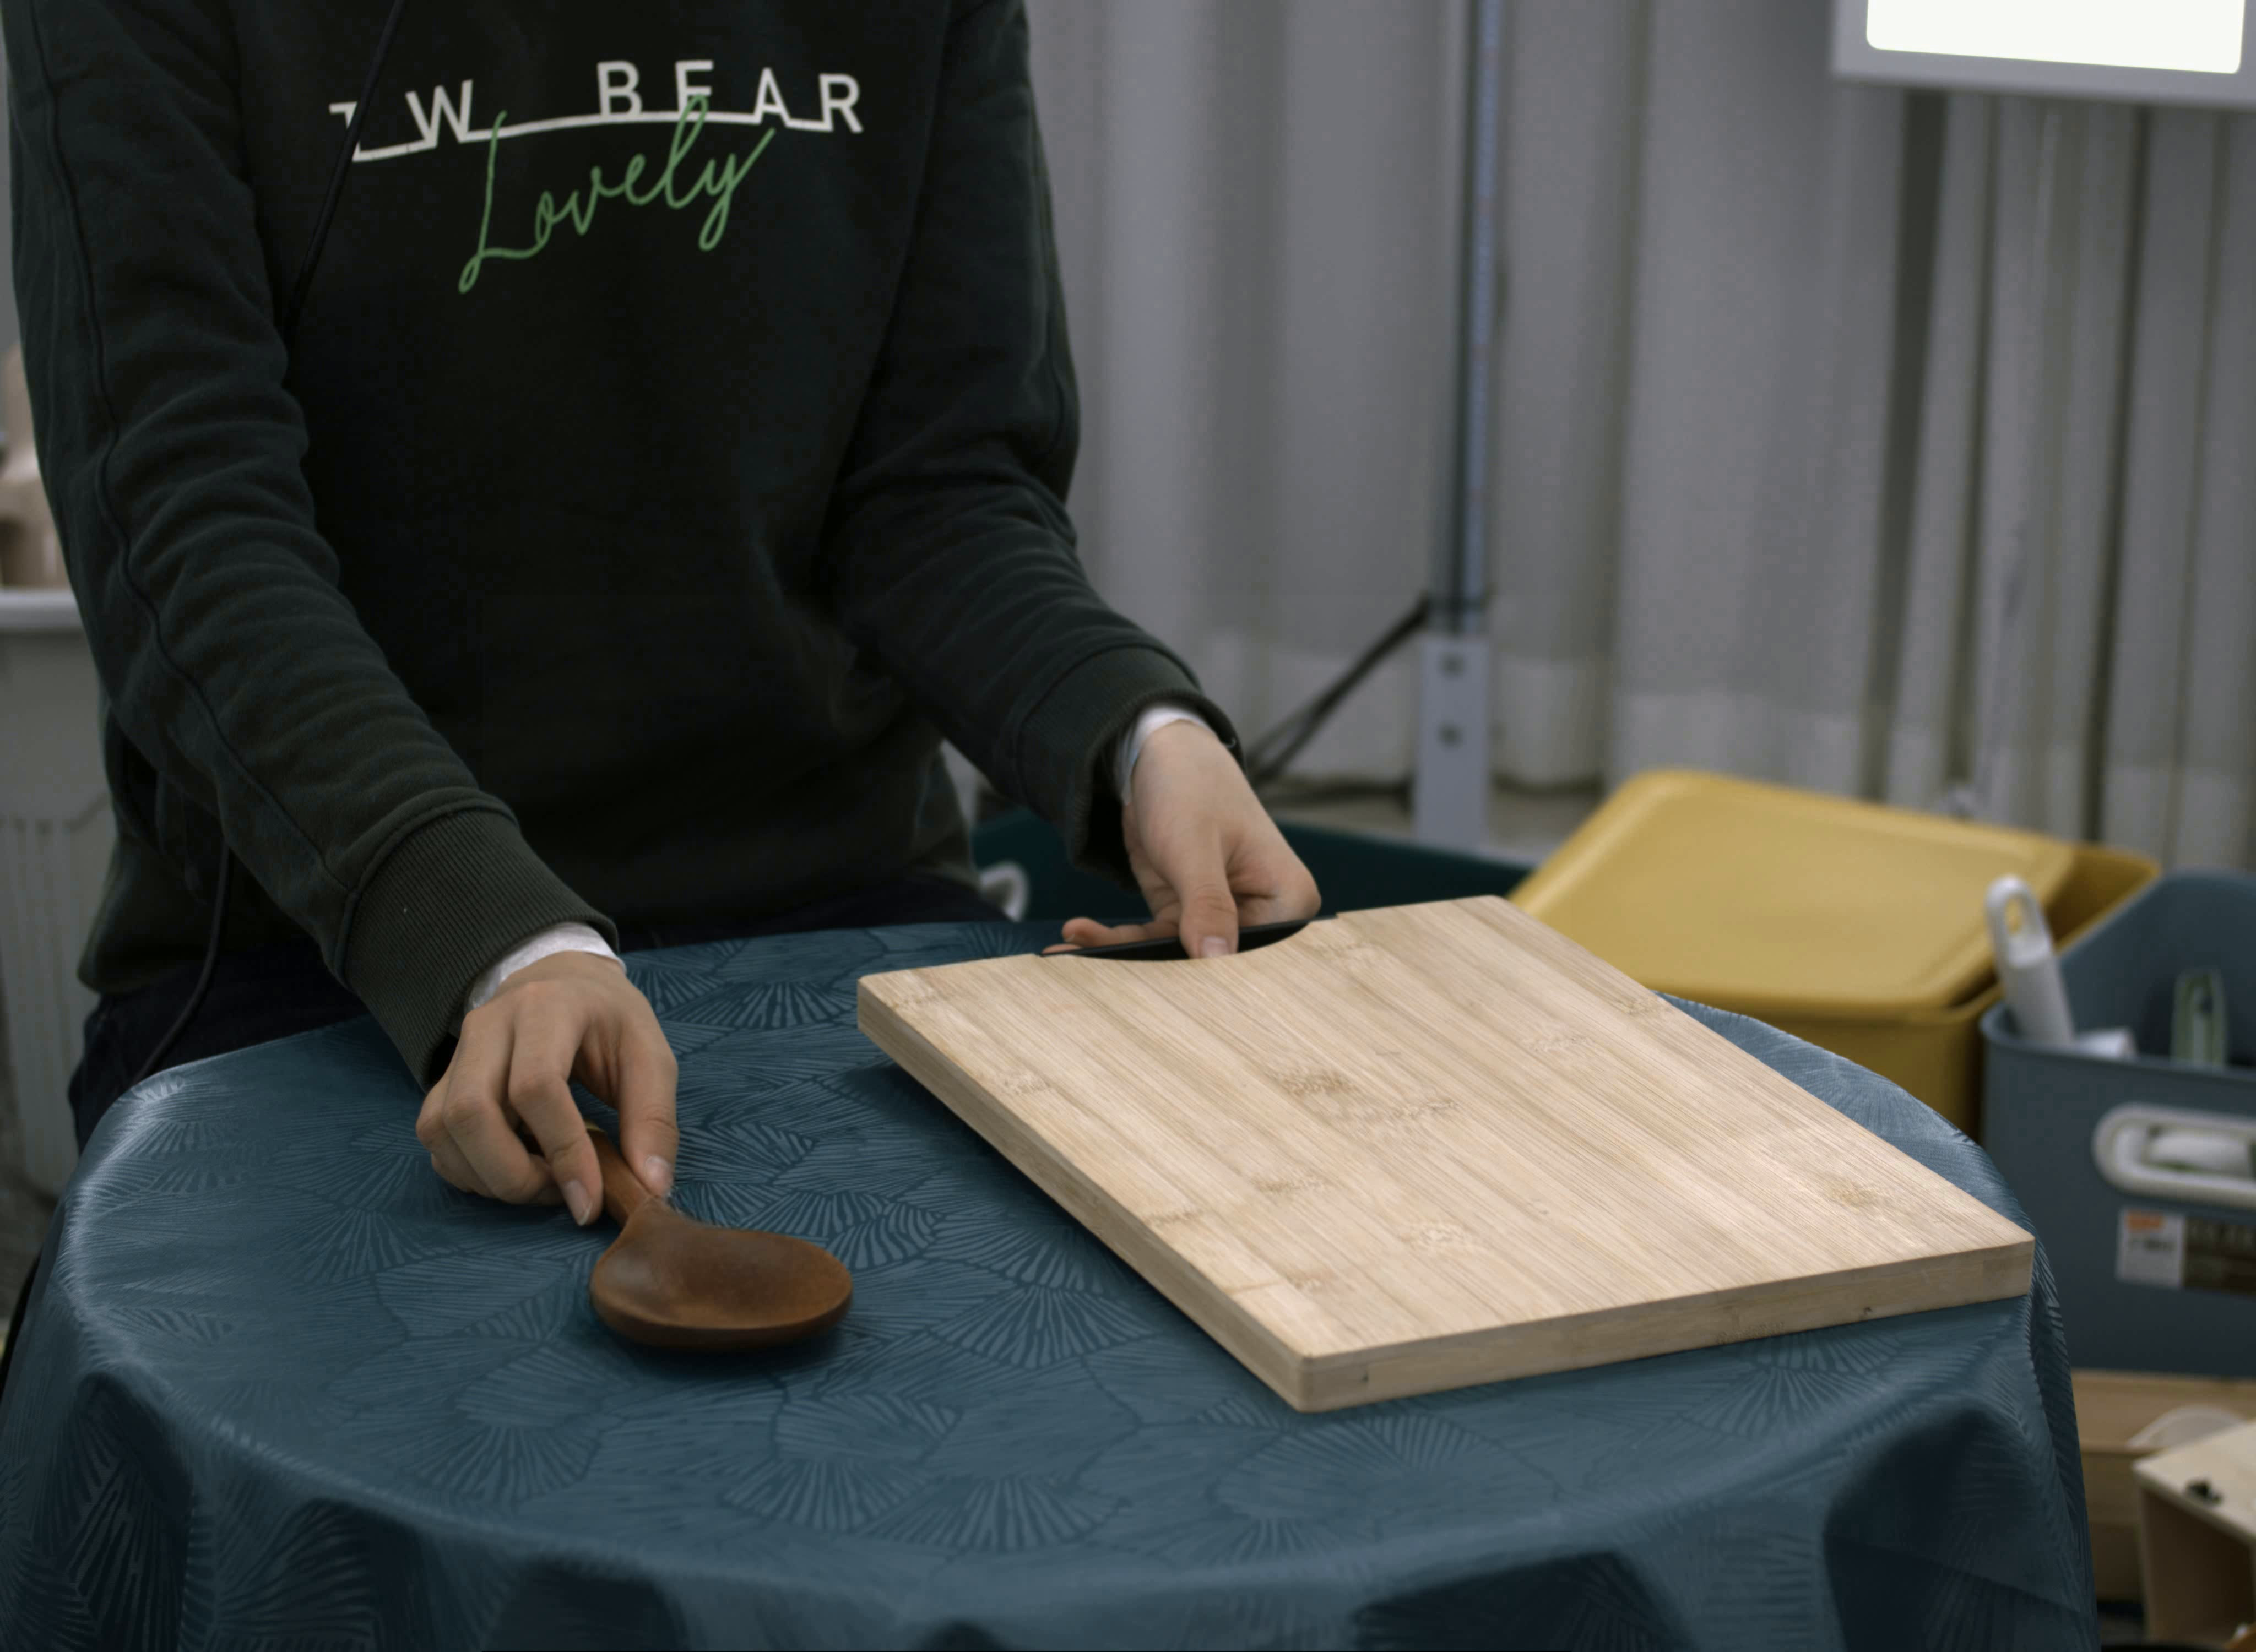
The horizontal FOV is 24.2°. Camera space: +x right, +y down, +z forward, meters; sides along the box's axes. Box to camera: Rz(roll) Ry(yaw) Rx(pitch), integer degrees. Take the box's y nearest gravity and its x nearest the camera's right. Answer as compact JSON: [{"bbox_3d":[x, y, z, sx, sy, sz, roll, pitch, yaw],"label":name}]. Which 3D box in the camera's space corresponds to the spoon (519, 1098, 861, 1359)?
[{"bbox_3d":[-0.140,0.120,1.563,0.075,0.017,0.213,-9,19,-22],"label":"spoon"}]

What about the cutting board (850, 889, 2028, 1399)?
[{"bbox_3d":[0.086,0.092,1.646,0.251,0.024,0.344,-6,20,-25],"label":"cutting board"}]
